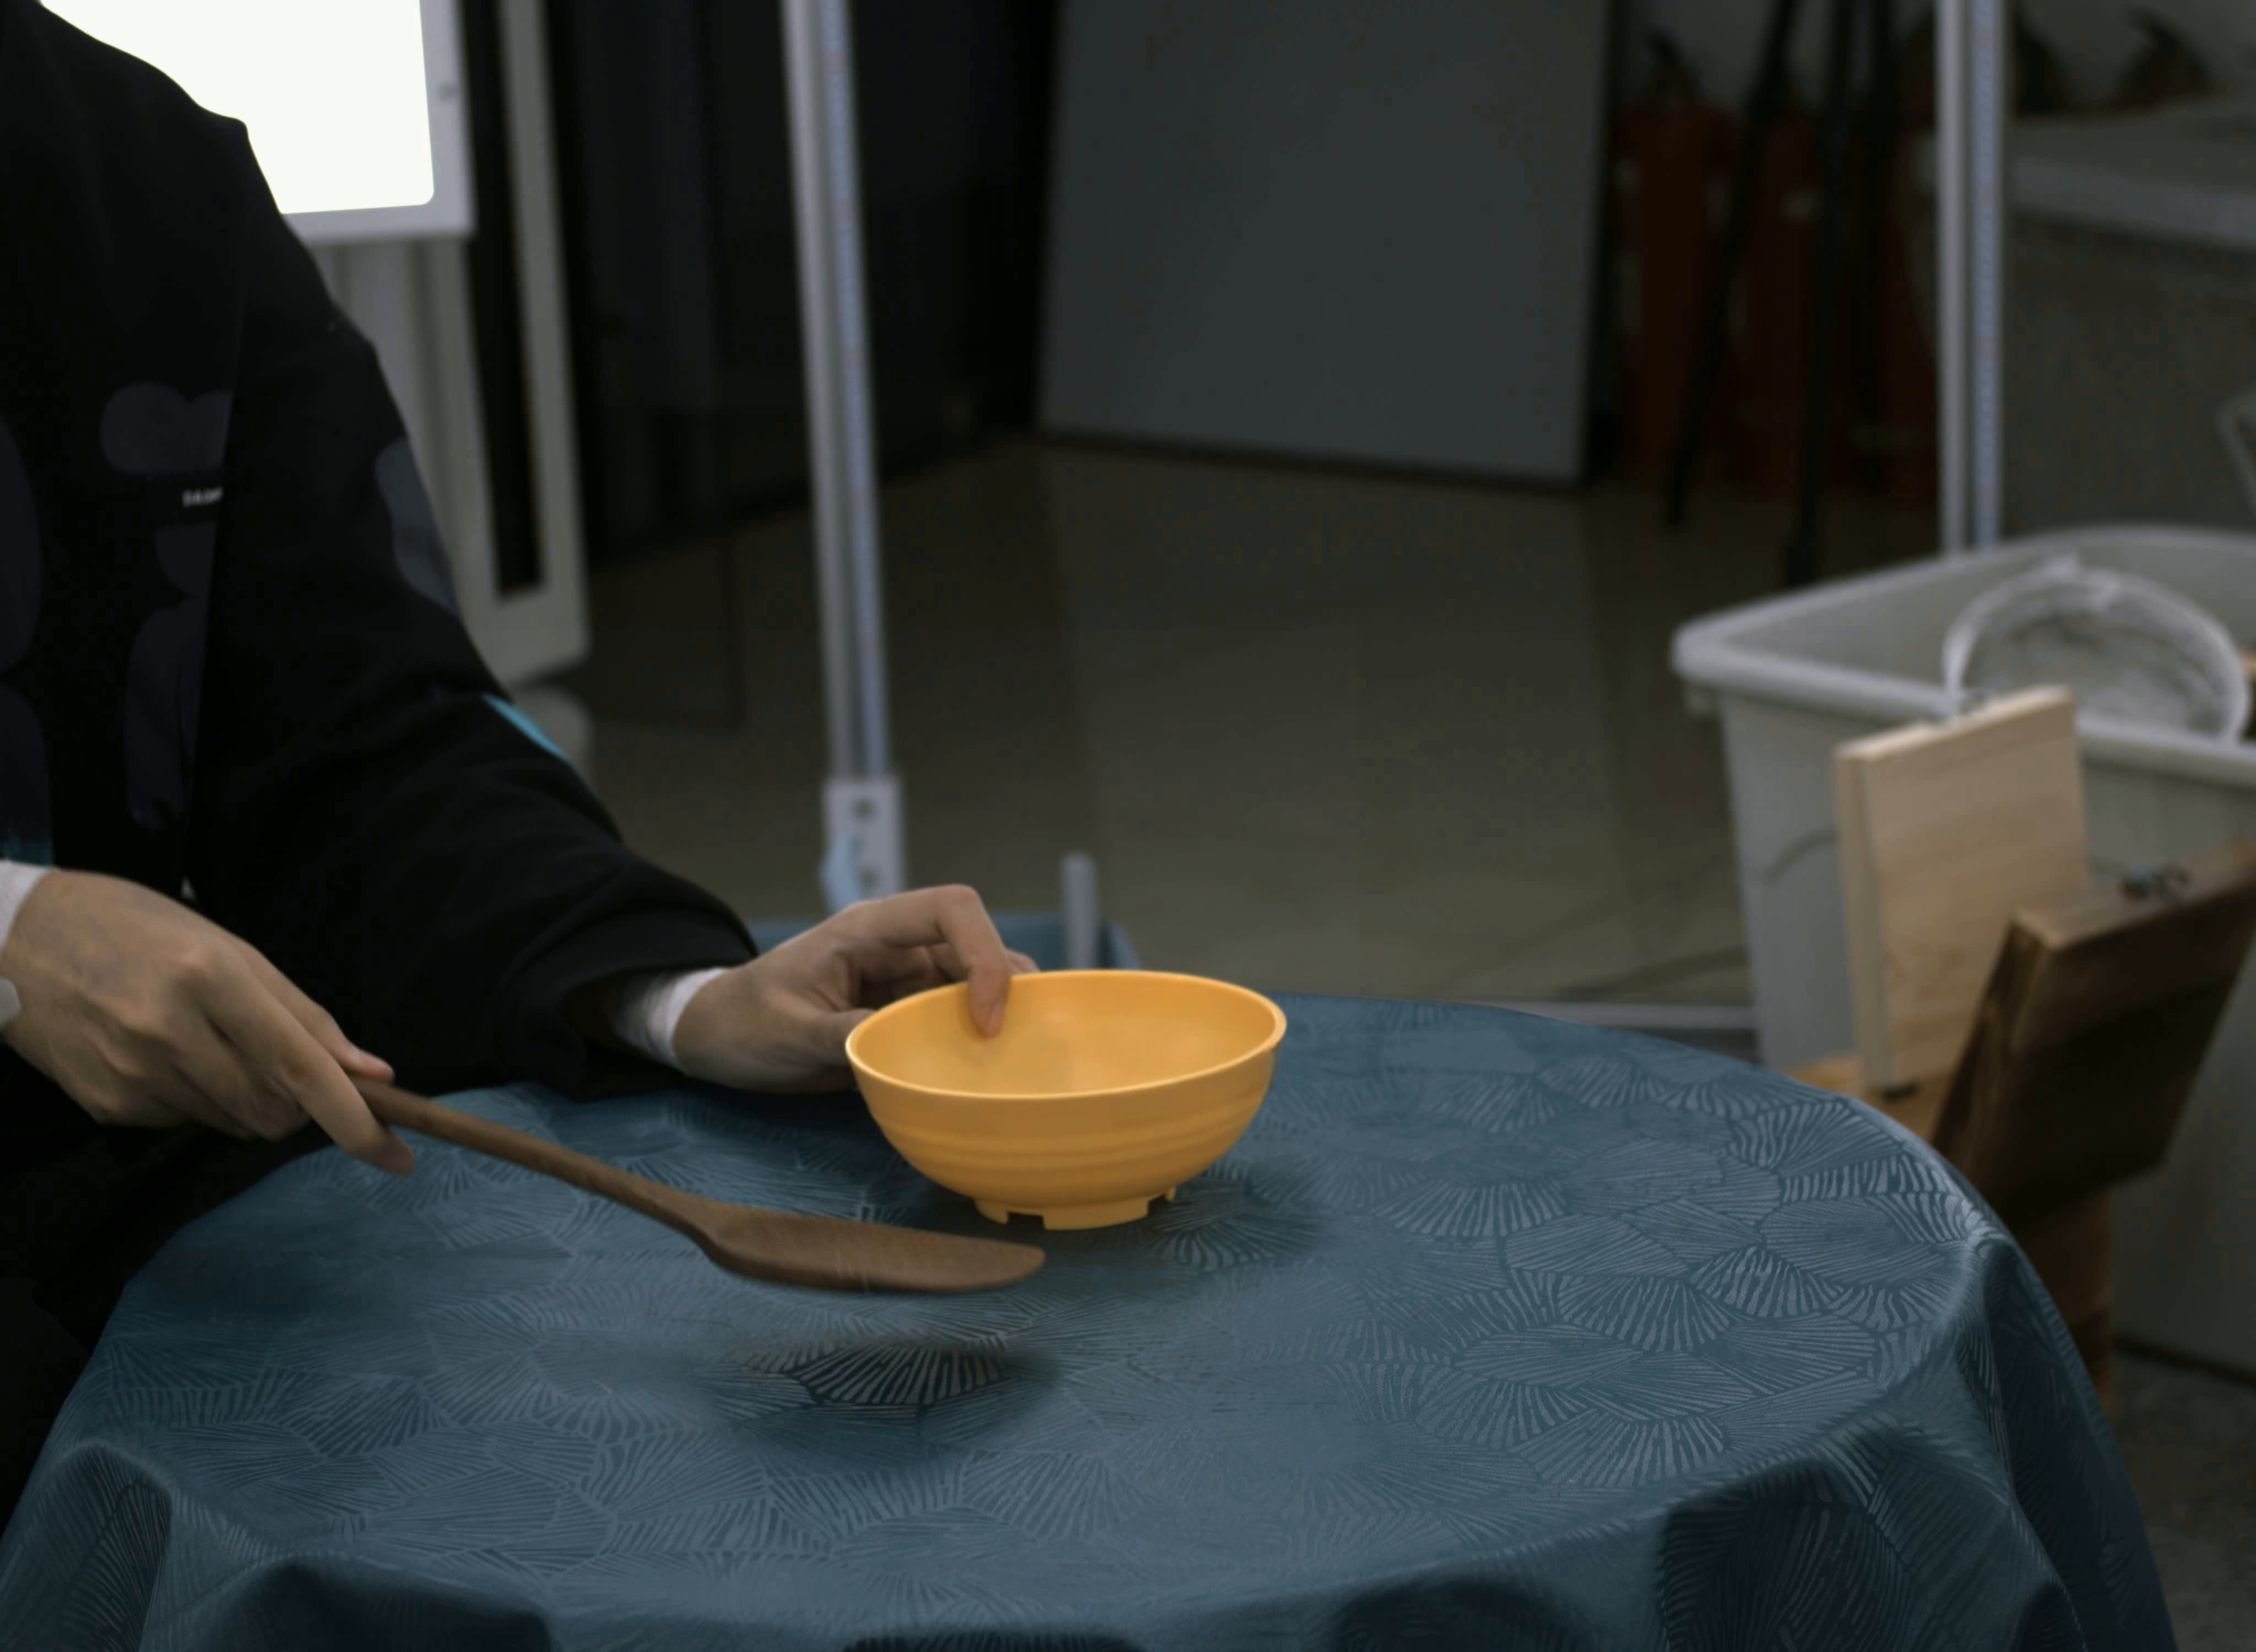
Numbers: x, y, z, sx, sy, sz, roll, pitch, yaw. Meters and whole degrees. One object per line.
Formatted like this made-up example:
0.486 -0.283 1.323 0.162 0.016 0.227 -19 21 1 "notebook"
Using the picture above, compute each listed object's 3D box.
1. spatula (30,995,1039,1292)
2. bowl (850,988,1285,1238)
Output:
-0.199 0.097 1.685 0.388 0.016 0.094 14 8 32 "spatula"
-0.018 0.097 1.758 0.143 0.061 0.145 -4 11 0 "bowl"
